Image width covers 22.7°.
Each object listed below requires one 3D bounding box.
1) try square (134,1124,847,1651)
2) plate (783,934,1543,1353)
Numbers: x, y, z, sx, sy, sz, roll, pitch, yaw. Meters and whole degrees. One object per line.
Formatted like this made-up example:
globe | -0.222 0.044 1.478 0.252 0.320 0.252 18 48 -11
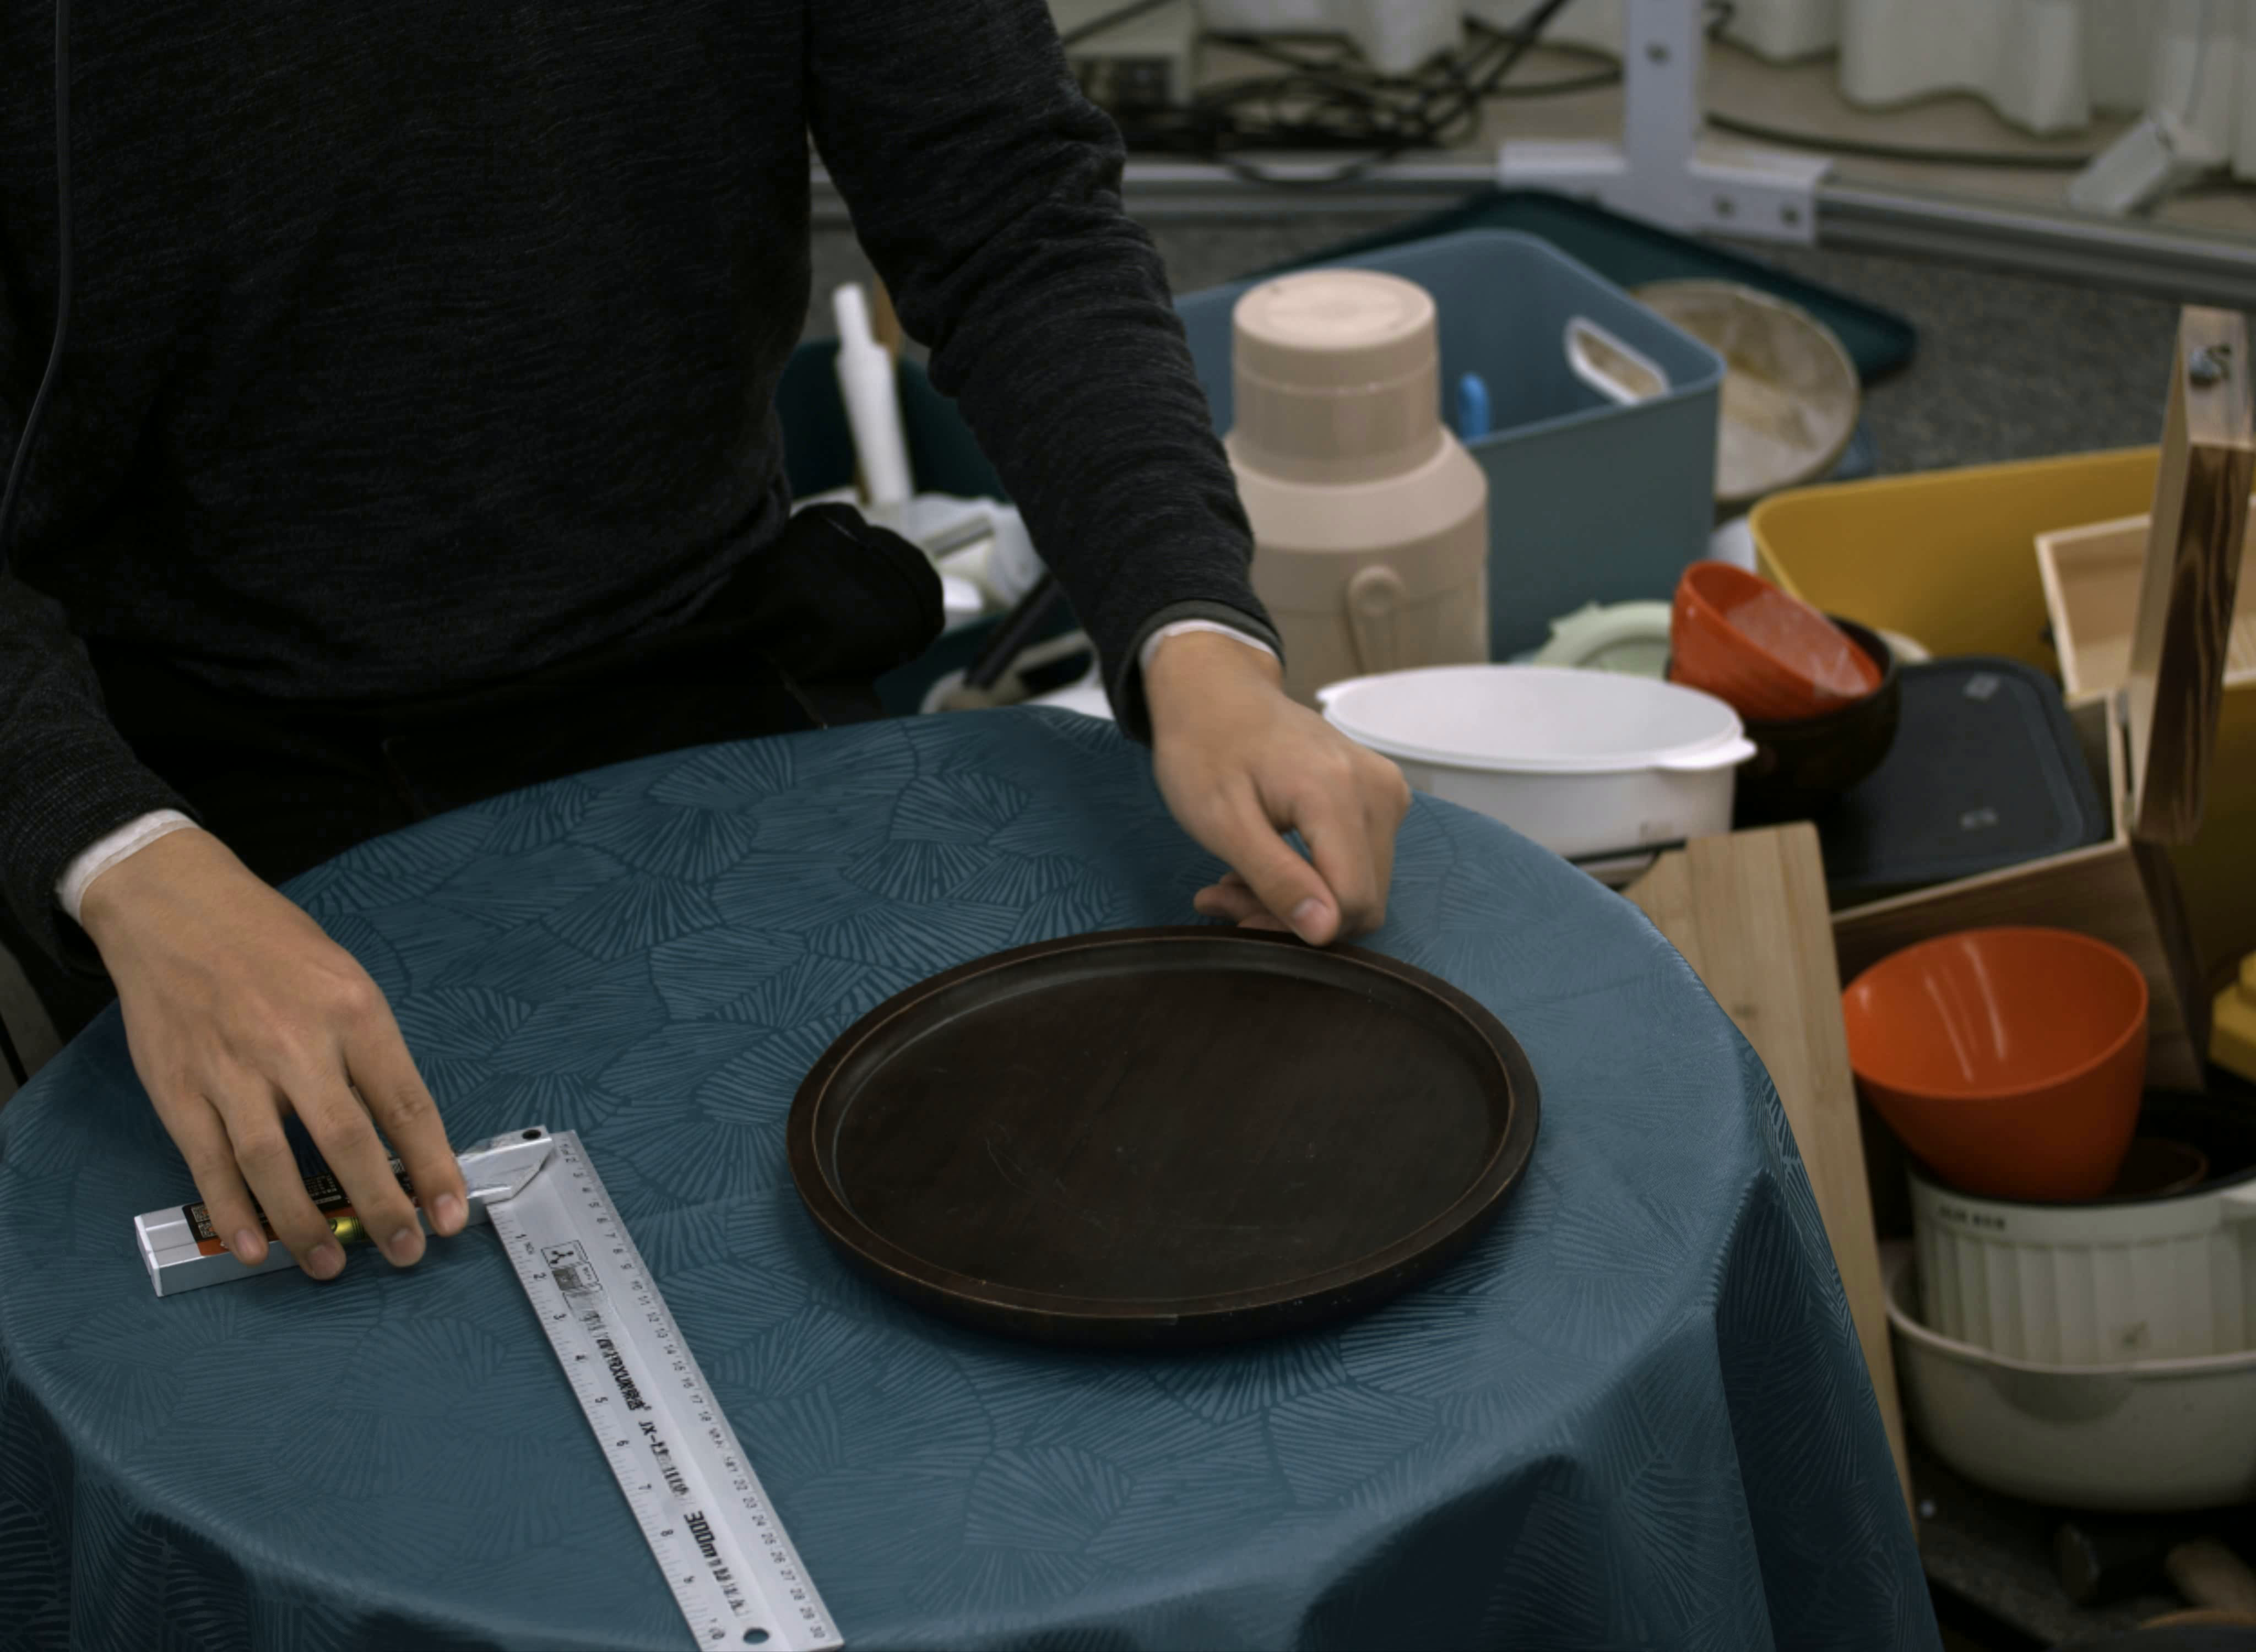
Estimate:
try square | -0.205 0.186 1.749 0.152 0.016 0.315 -12 30 -16
plate | 0.012 0.103 1.870 0.253 0.029 0.259 -2 28 1
